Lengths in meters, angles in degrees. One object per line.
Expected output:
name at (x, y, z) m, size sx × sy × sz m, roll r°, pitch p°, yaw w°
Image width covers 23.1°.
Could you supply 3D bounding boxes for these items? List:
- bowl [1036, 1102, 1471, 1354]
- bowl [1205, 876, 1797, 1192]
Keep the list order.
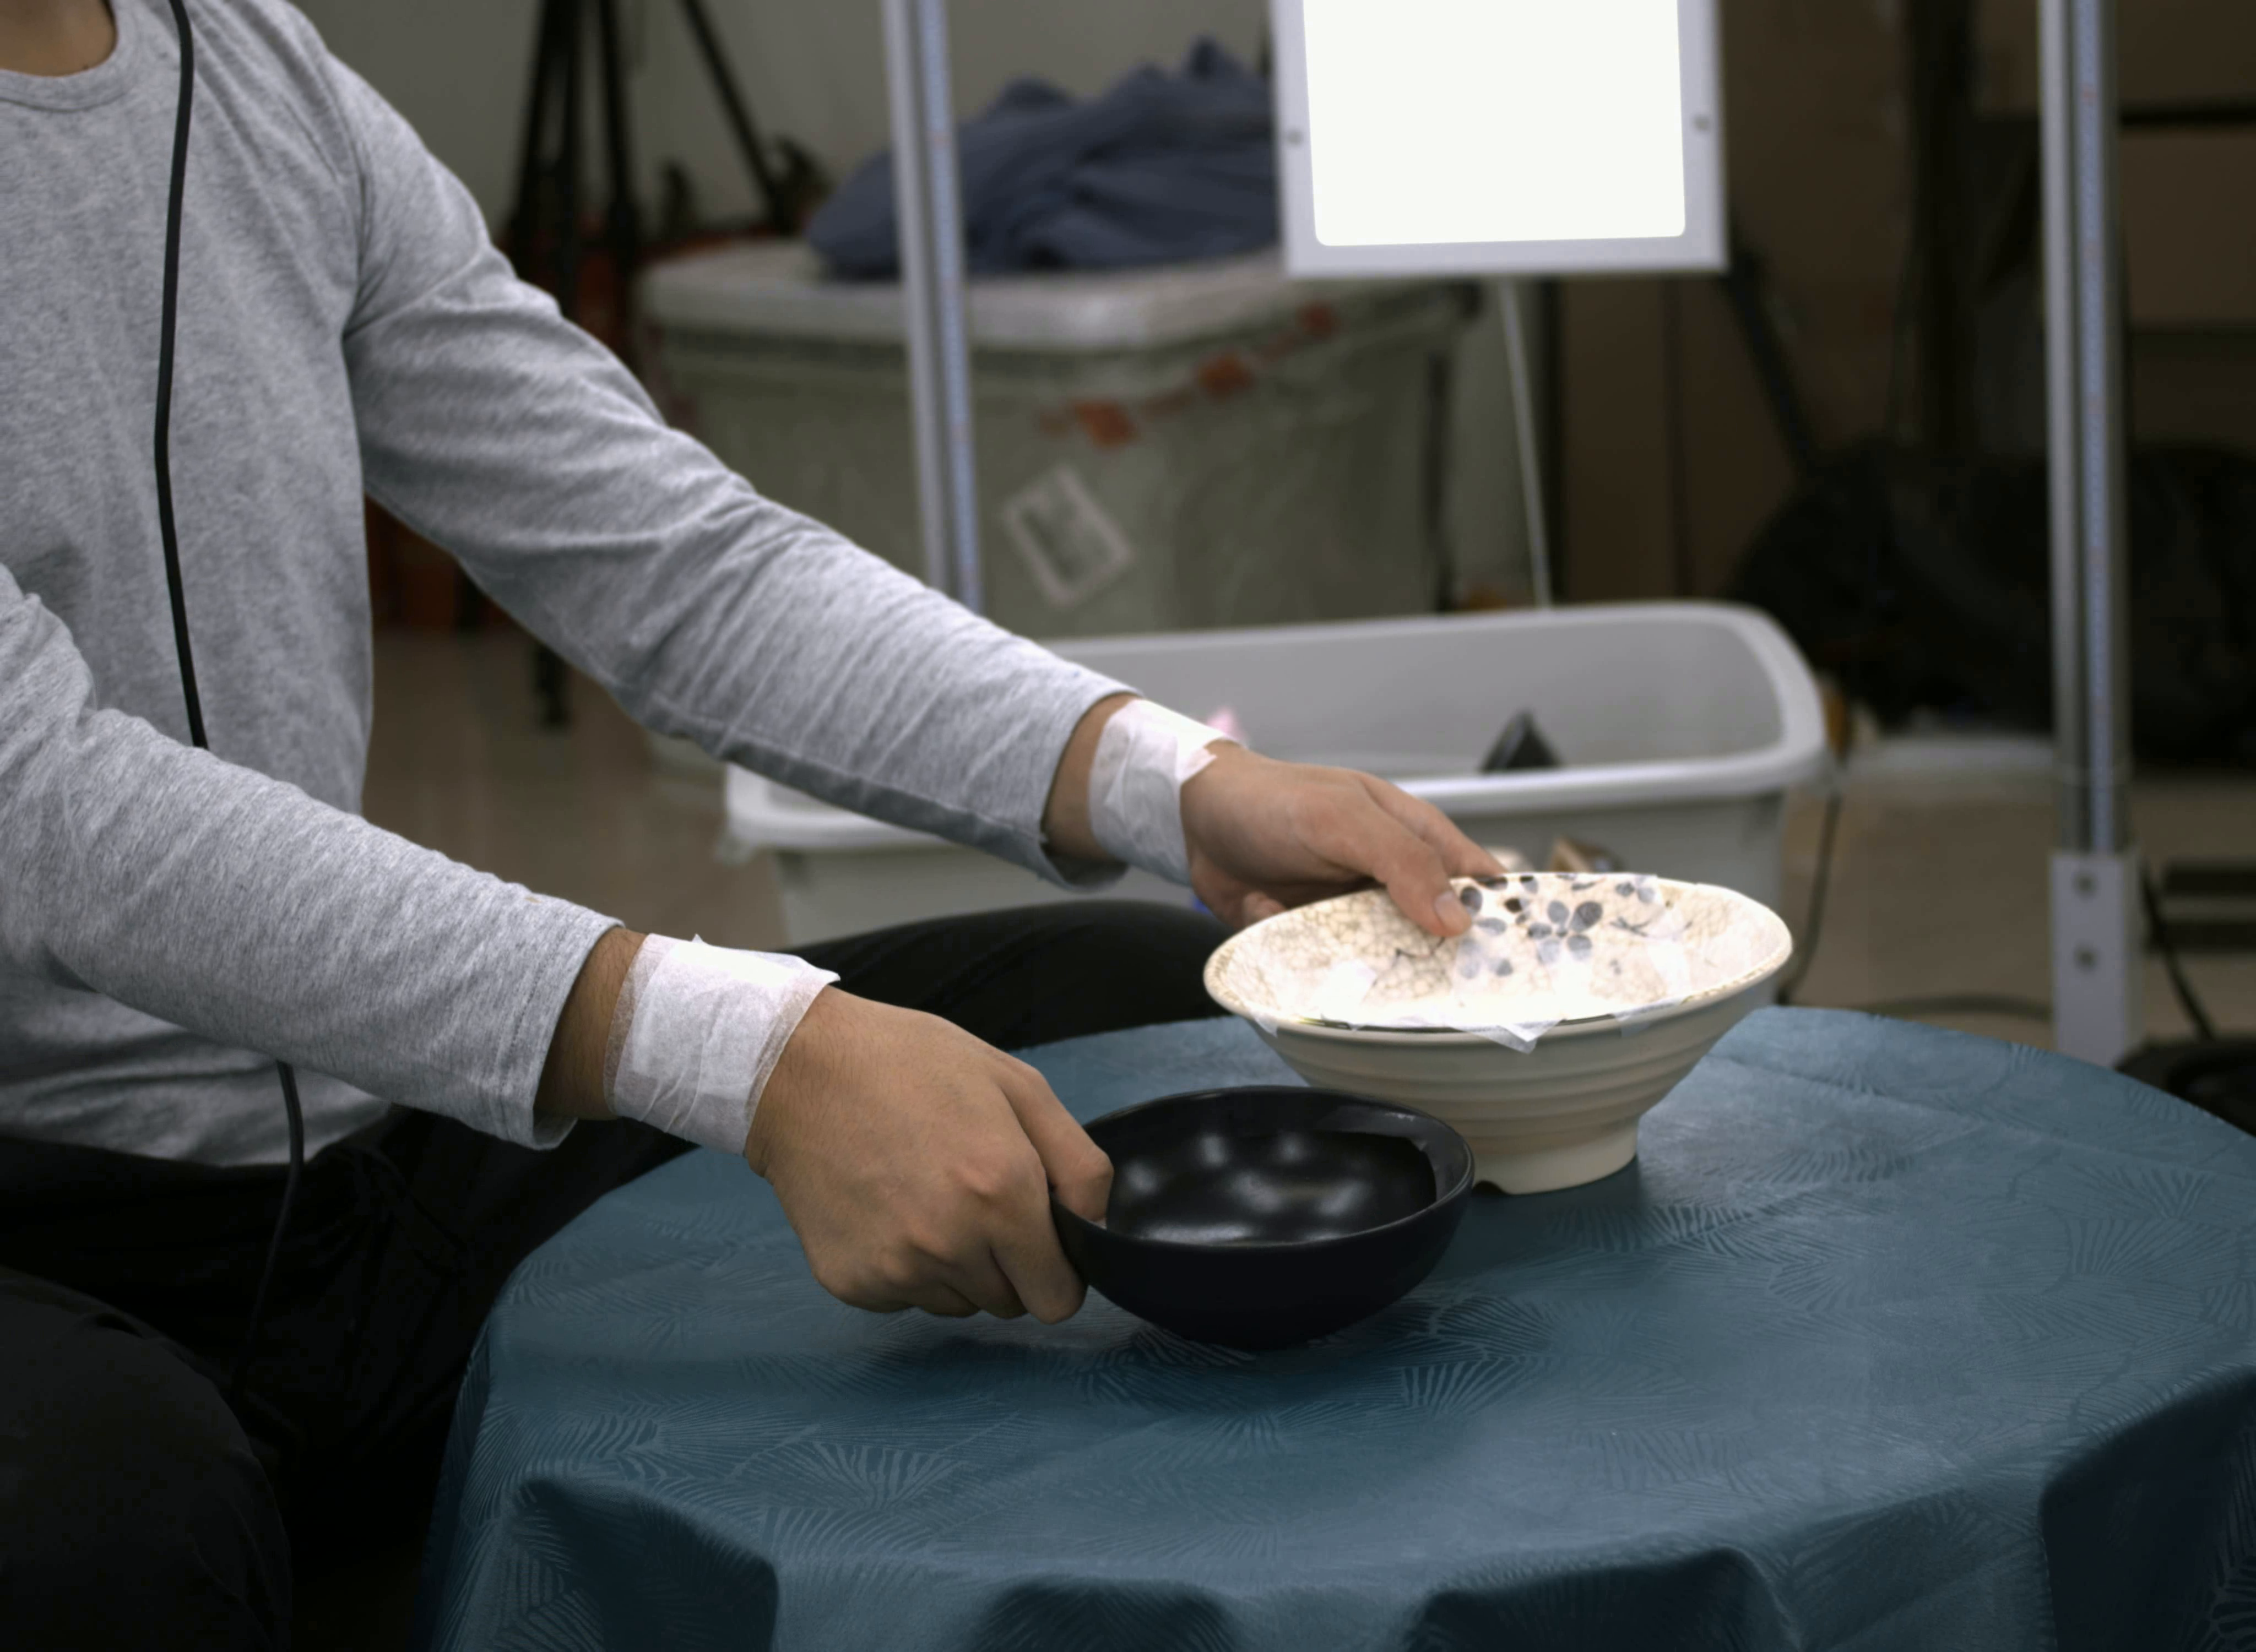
bowl at (0.042, 0.132, 1.751) m, size 0.139 × 0.050 × 0.140 m, roll -5°, pitch 15°, yaw 0°
bowl at (0.131, 0.077, 1.891) m, size 0.203 × 0.078 × 0.204 m, roll -5°, pitch 13°, yaw 0°
